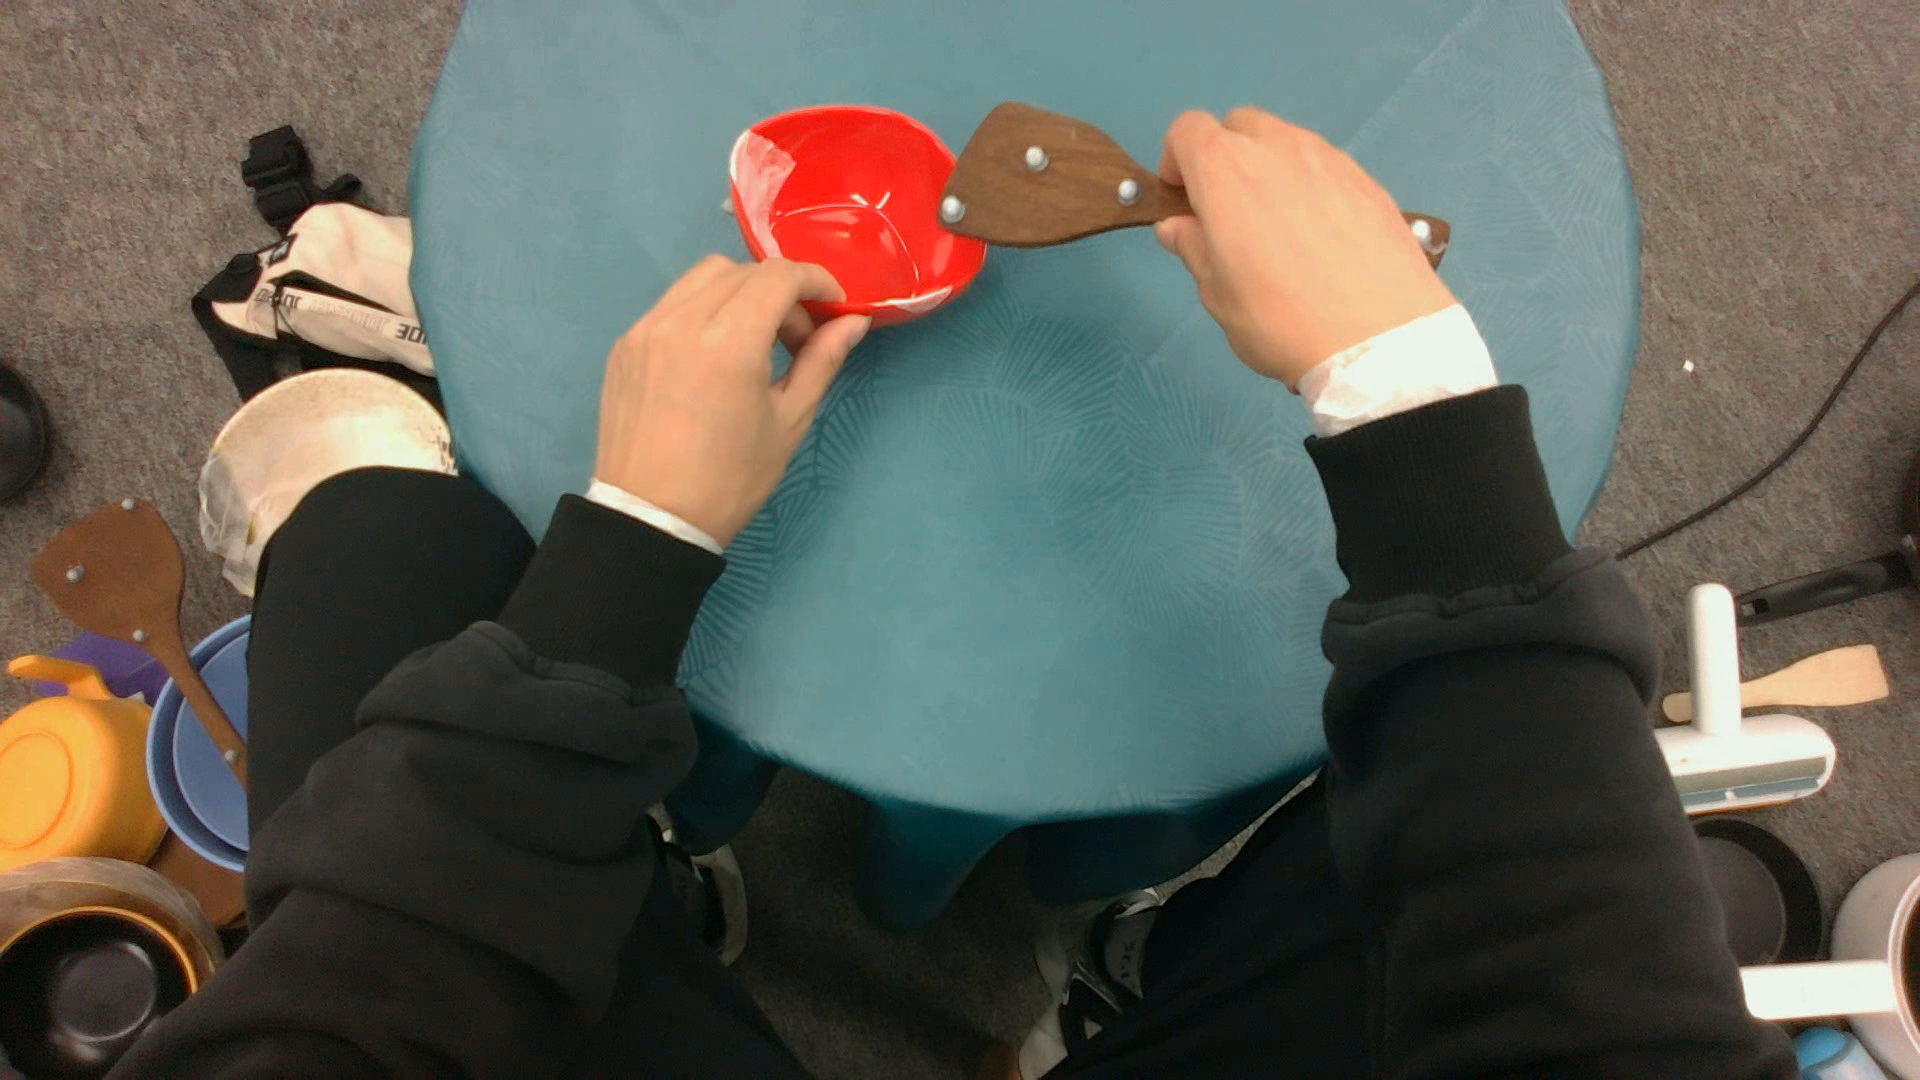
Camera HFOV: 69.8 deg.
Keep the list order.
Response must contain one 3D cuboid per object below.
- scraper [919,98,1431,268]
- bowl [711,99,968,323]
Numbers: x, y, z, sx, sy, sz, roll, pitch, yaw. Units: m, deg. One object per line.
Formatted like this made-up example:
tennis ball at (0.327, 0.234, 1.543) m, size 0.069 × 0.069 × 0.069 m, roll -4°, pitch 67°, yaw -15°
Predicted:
scraper at (0.084, -0.139, 0.561) m, size 0.211 × 0.011 × 0.076 m, roll 17°, pitch 68°, yaw 26°
bowl at (-0.059, -0.141, 0.625) m, size 0.119 × 0.051 × 0.119 m, roll 9°, pitch 60°, yaw -15°
